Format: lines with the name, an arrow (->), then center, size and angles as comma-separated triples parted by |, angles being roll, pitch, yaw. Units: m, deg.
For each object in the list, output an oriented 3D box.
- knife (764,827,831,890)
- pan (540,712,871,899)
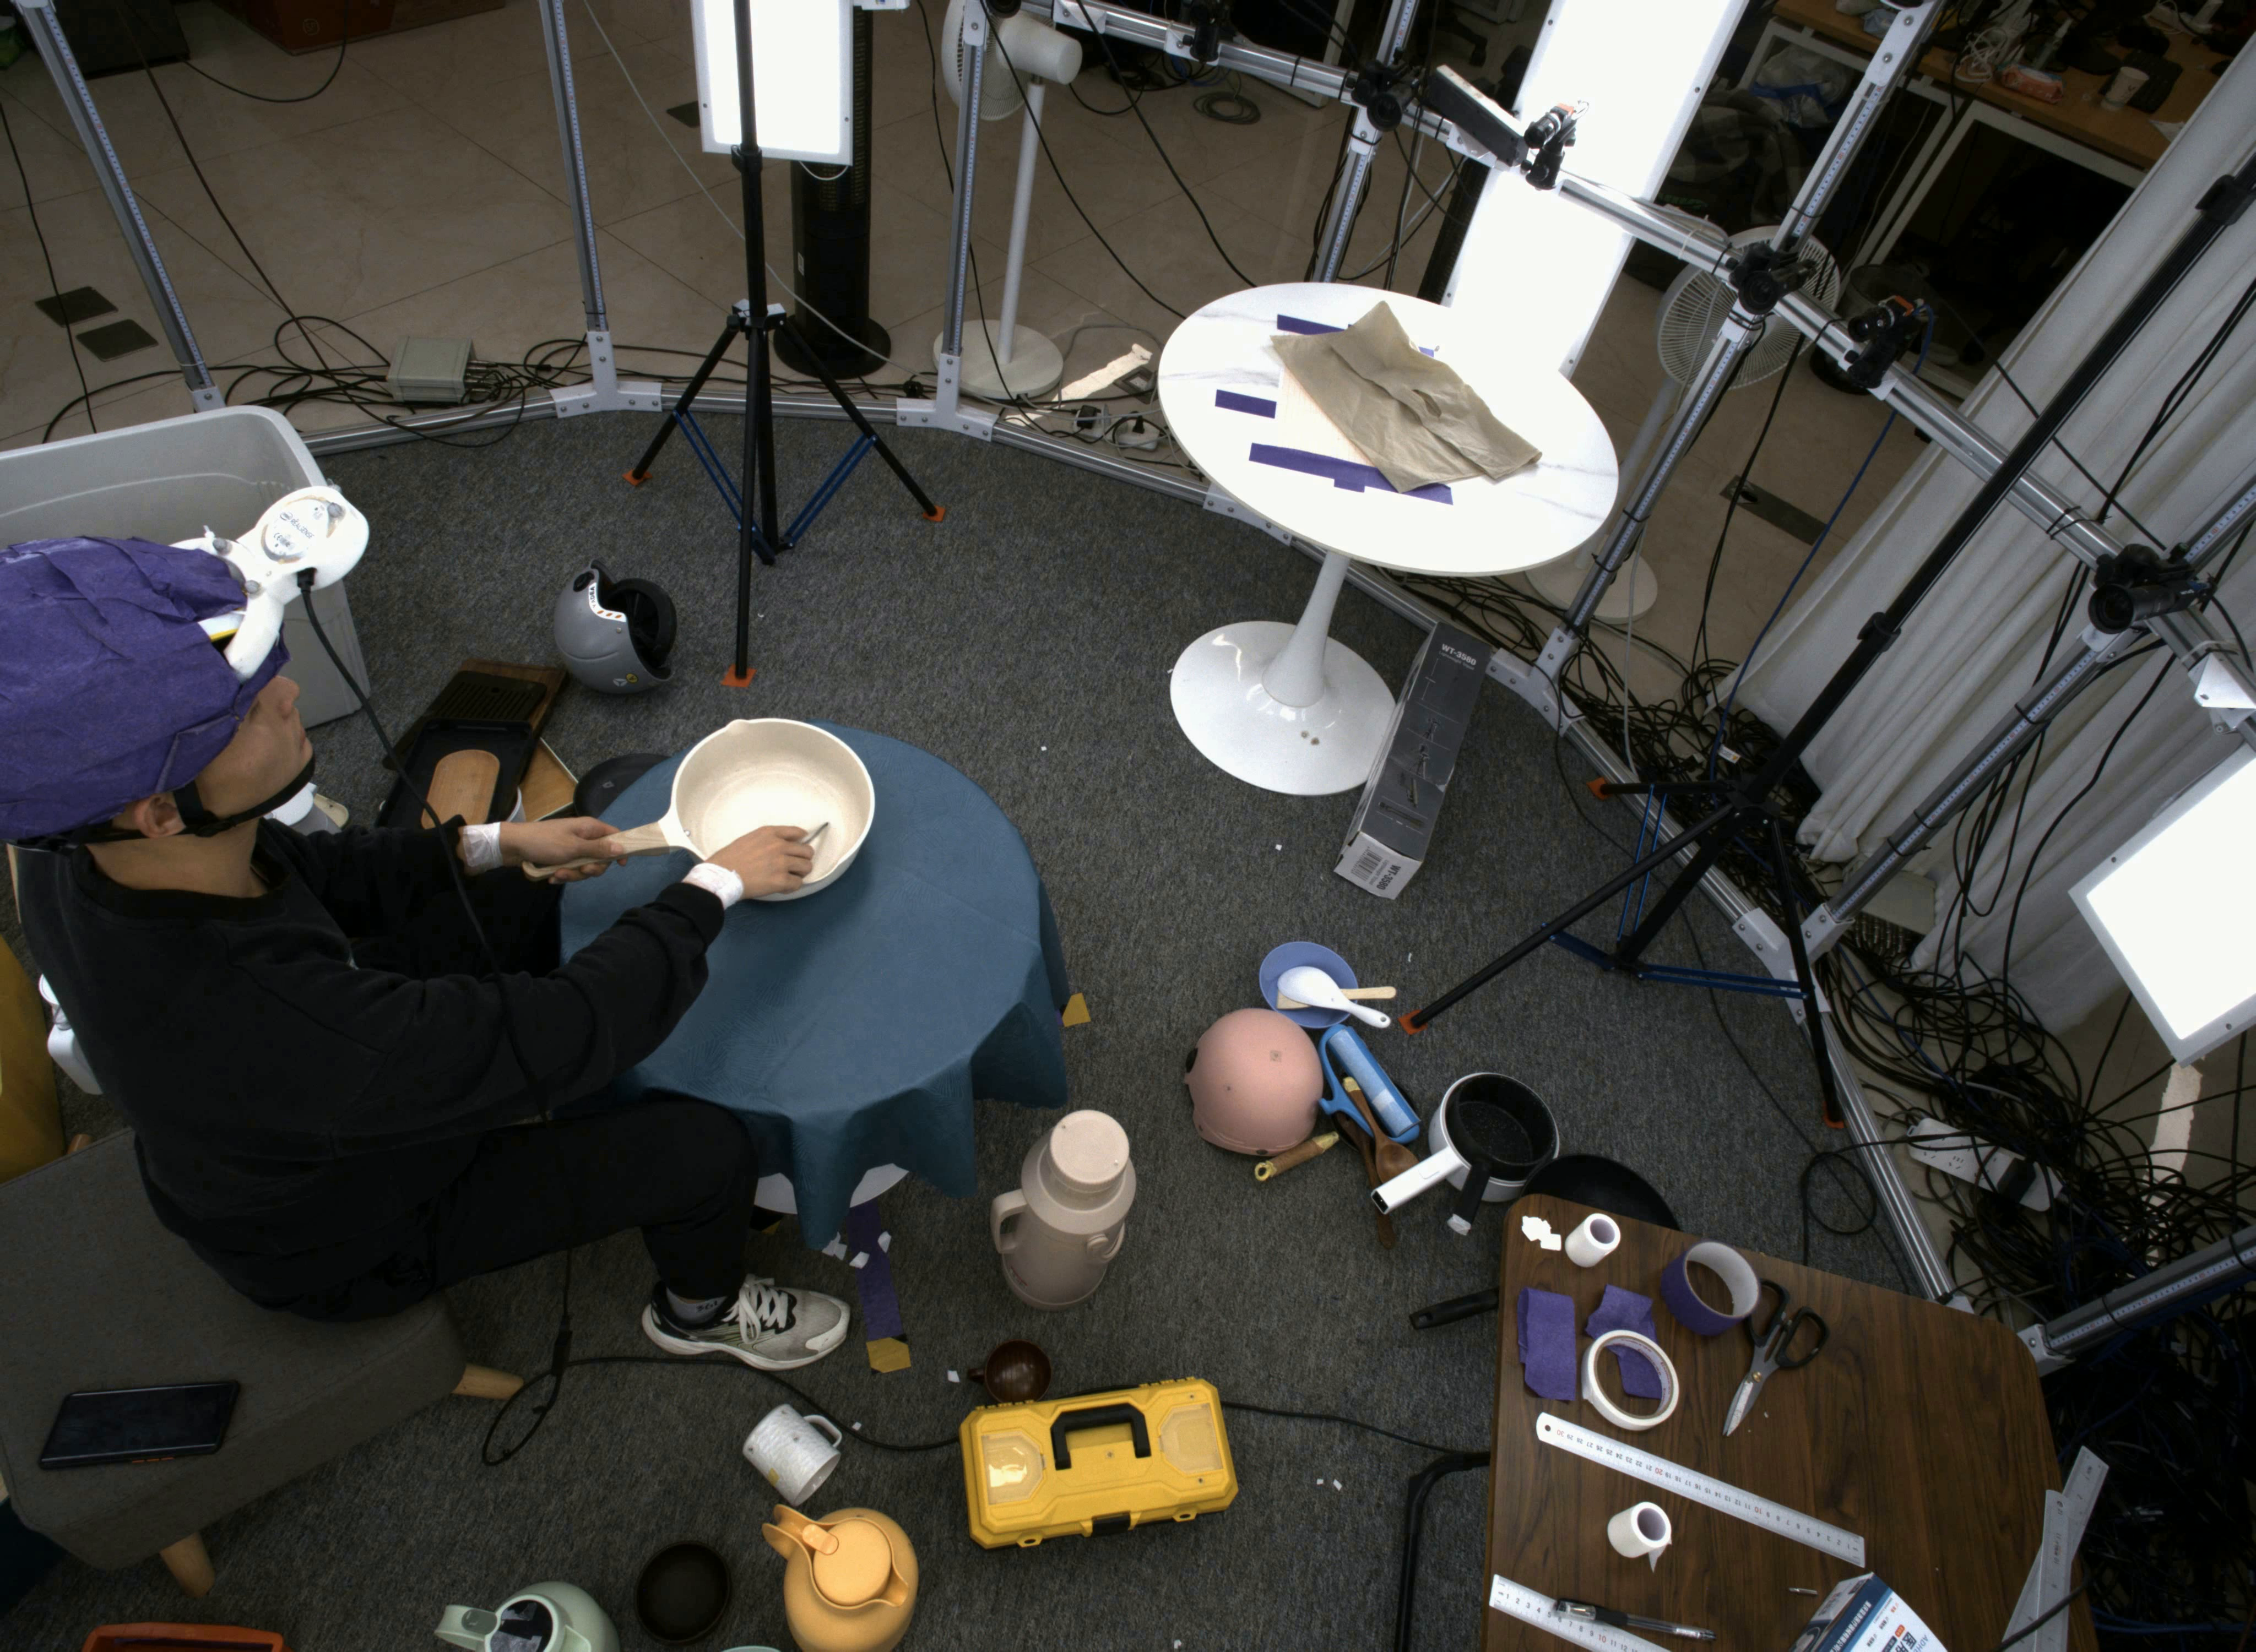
knife -> -0.408, 0.032, 1.618 | 0.017, 0.026, 0.223 | 23, 20, 0
pan -> -0.532, 0.006, 1.611 | 0.437, 0.103, 0.259 | -22, 69, -28
